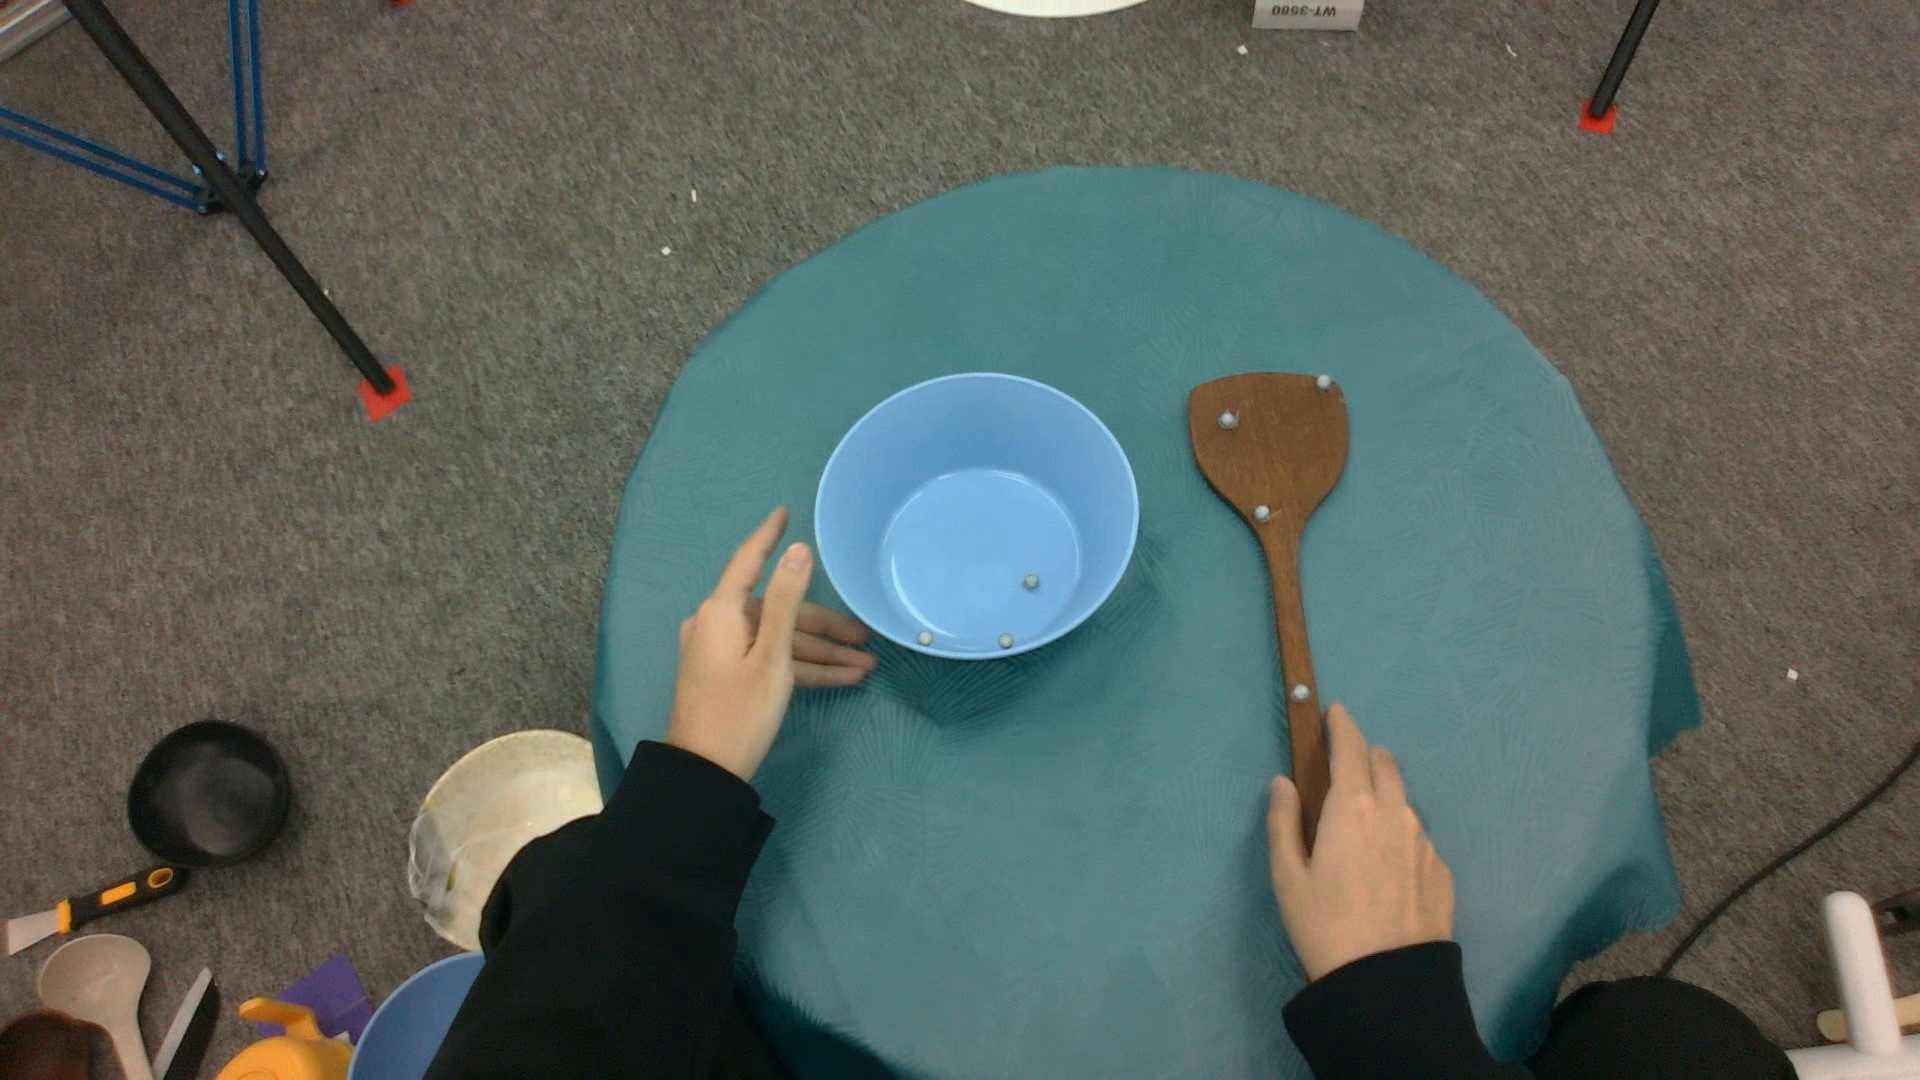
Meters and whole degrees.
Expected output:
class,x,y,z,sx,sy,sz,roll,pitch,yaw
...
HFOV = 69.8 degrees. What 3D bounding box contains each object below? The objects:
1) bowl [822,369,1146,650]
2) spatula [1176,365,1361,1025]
class,x,y,z,sx,sy,sz,roll,pitch,yaw
bowl,0.013,-0.006,0.769,0.176,0.070,0.177,-1,60,1
spatula,0.179,0.063,0.753,0.096,0.016,0.387,-2,61,3
